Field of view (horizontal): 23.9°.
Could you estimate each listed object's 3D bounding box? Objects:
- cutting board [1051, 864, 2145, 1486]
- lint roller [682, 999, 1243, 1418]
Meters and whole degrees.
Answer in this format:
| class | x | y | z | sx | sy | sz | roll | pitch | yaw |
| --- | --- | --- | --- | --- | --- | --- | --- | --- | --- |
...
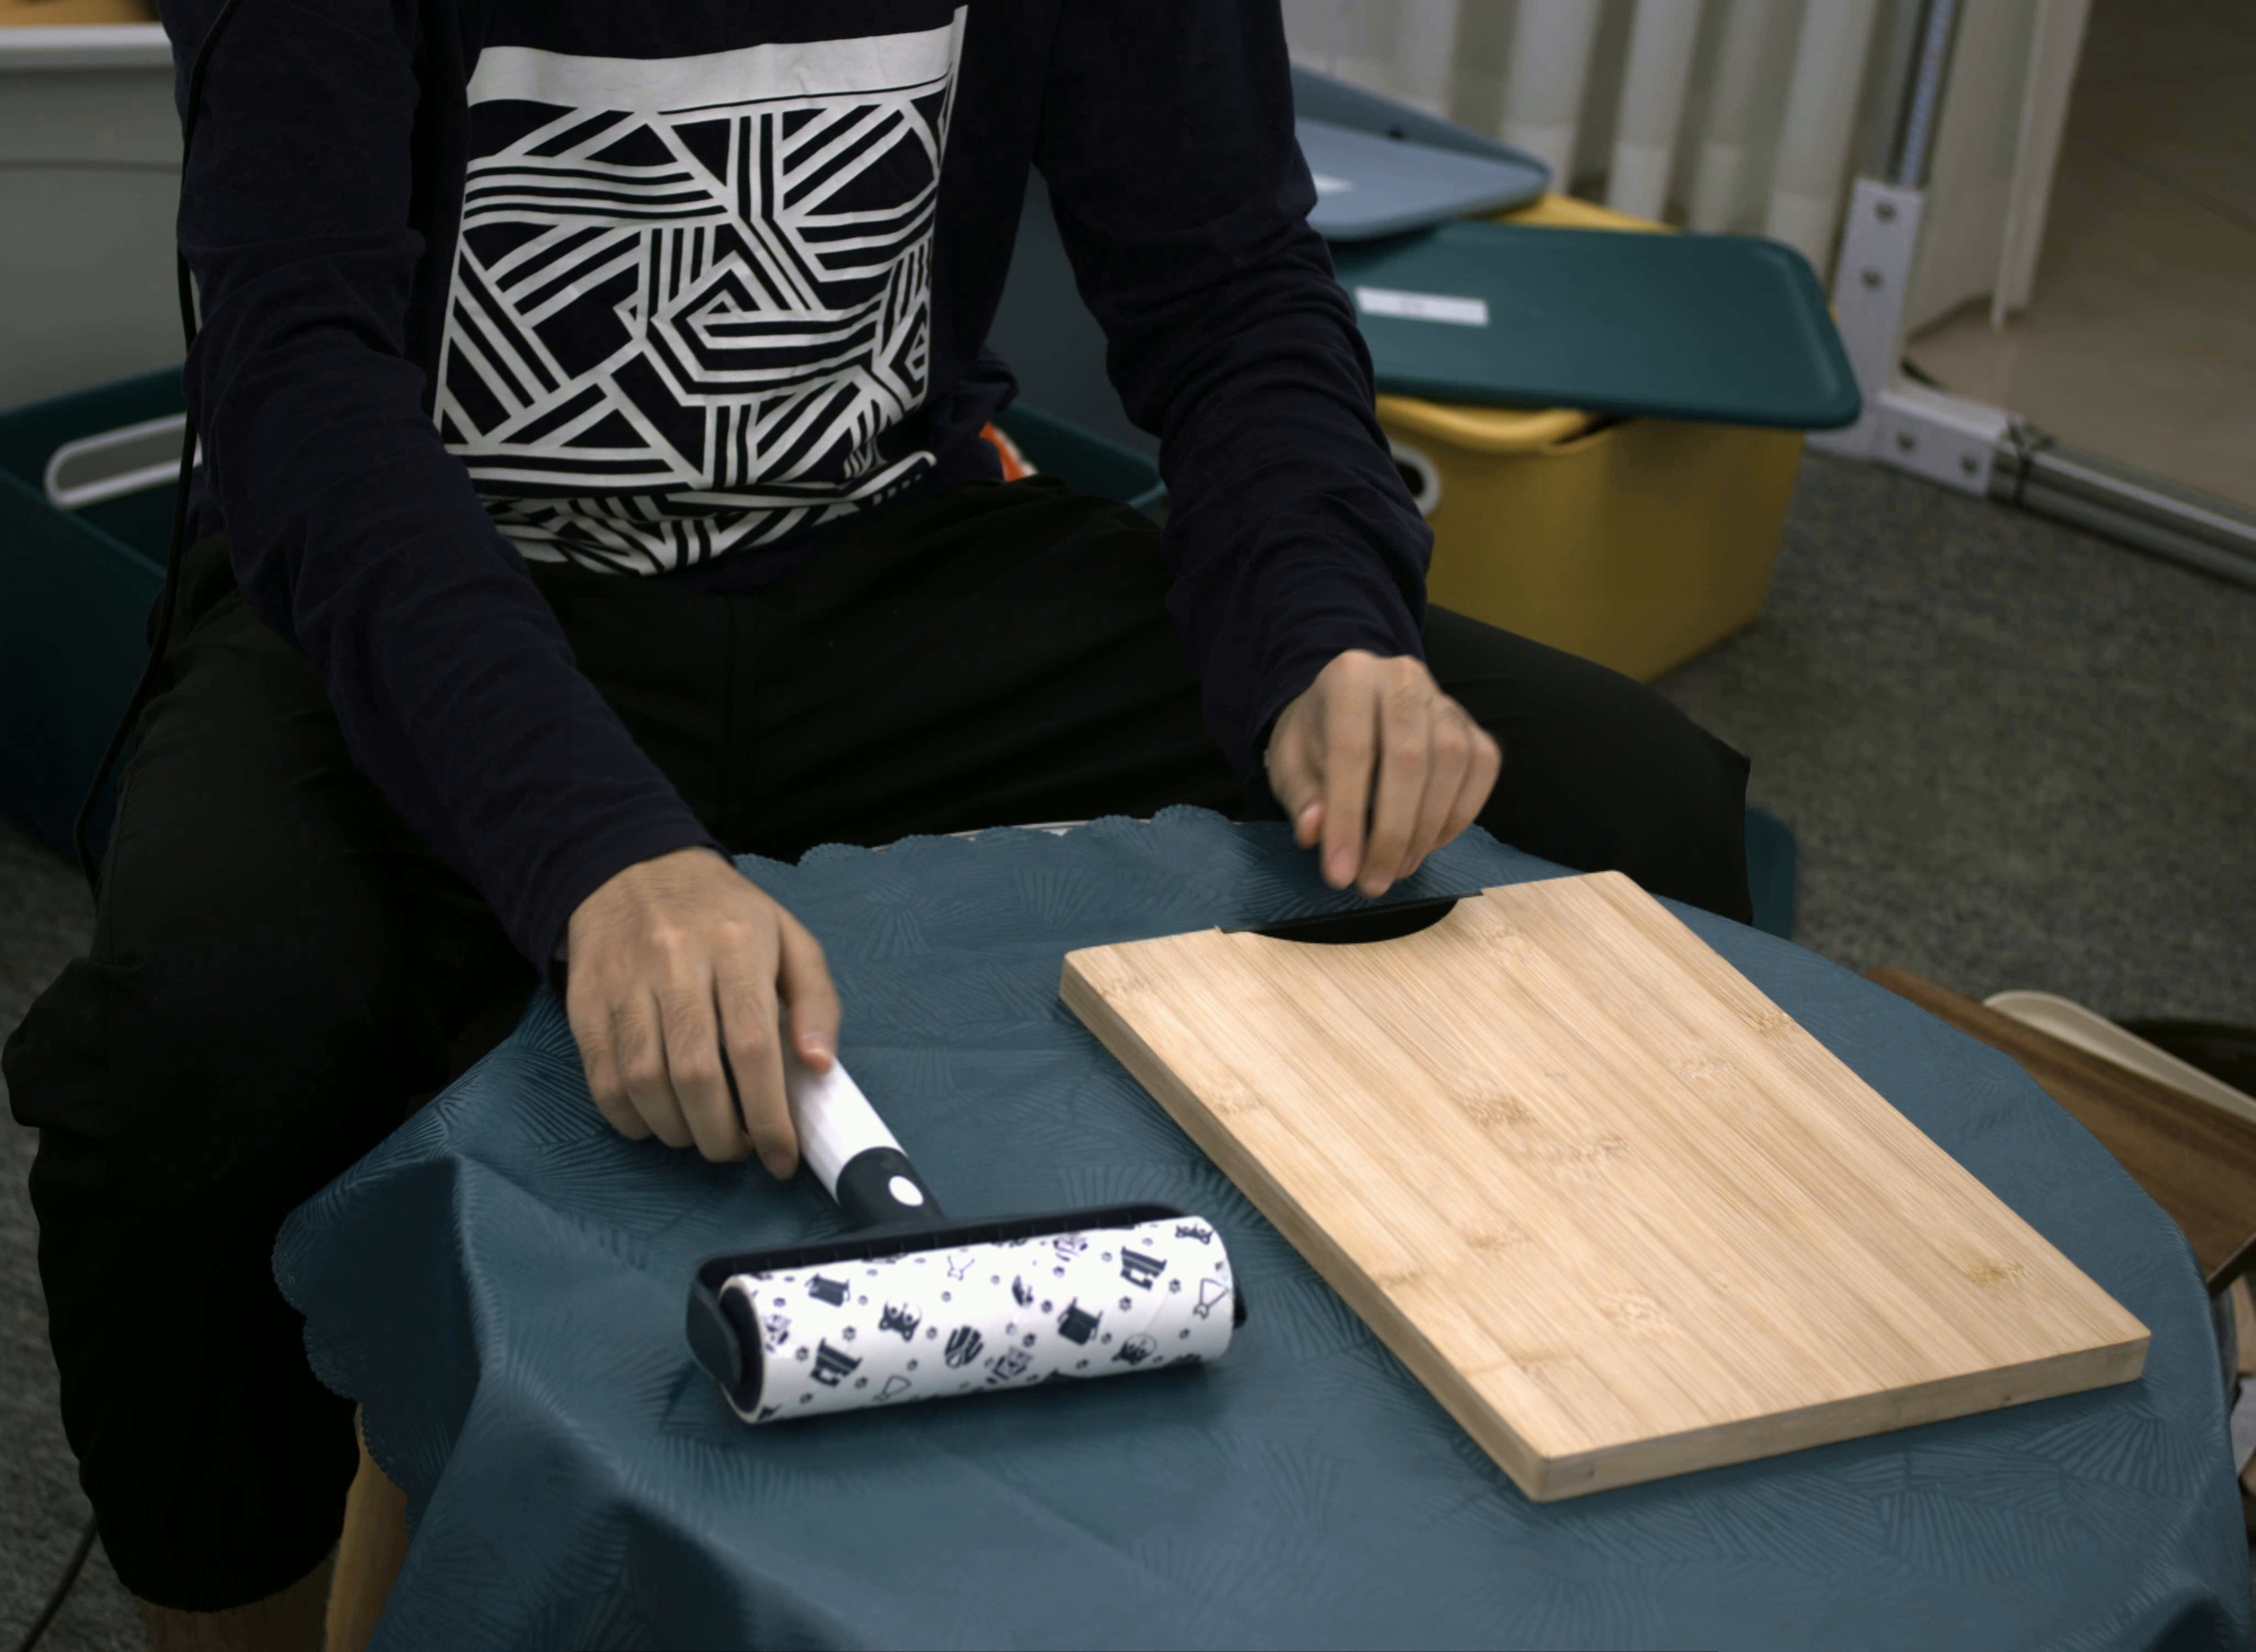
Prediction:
| class | x | y | z | sx | sy | sz | roll | pitch | yaw |
| --- | --- | --- | --- | --- | --- | --- | --- | --- | --- |
| cutting board | 0.154 | 0.113 | 1.844 | 0.249 | 0.023 | 0.352 | -8 | 30 | -27 |
| lint roller | -0.089 | 0.112 | 1.763 | 0.175 | 0.050 | 0.249 | -7 | 27 | -22 |
